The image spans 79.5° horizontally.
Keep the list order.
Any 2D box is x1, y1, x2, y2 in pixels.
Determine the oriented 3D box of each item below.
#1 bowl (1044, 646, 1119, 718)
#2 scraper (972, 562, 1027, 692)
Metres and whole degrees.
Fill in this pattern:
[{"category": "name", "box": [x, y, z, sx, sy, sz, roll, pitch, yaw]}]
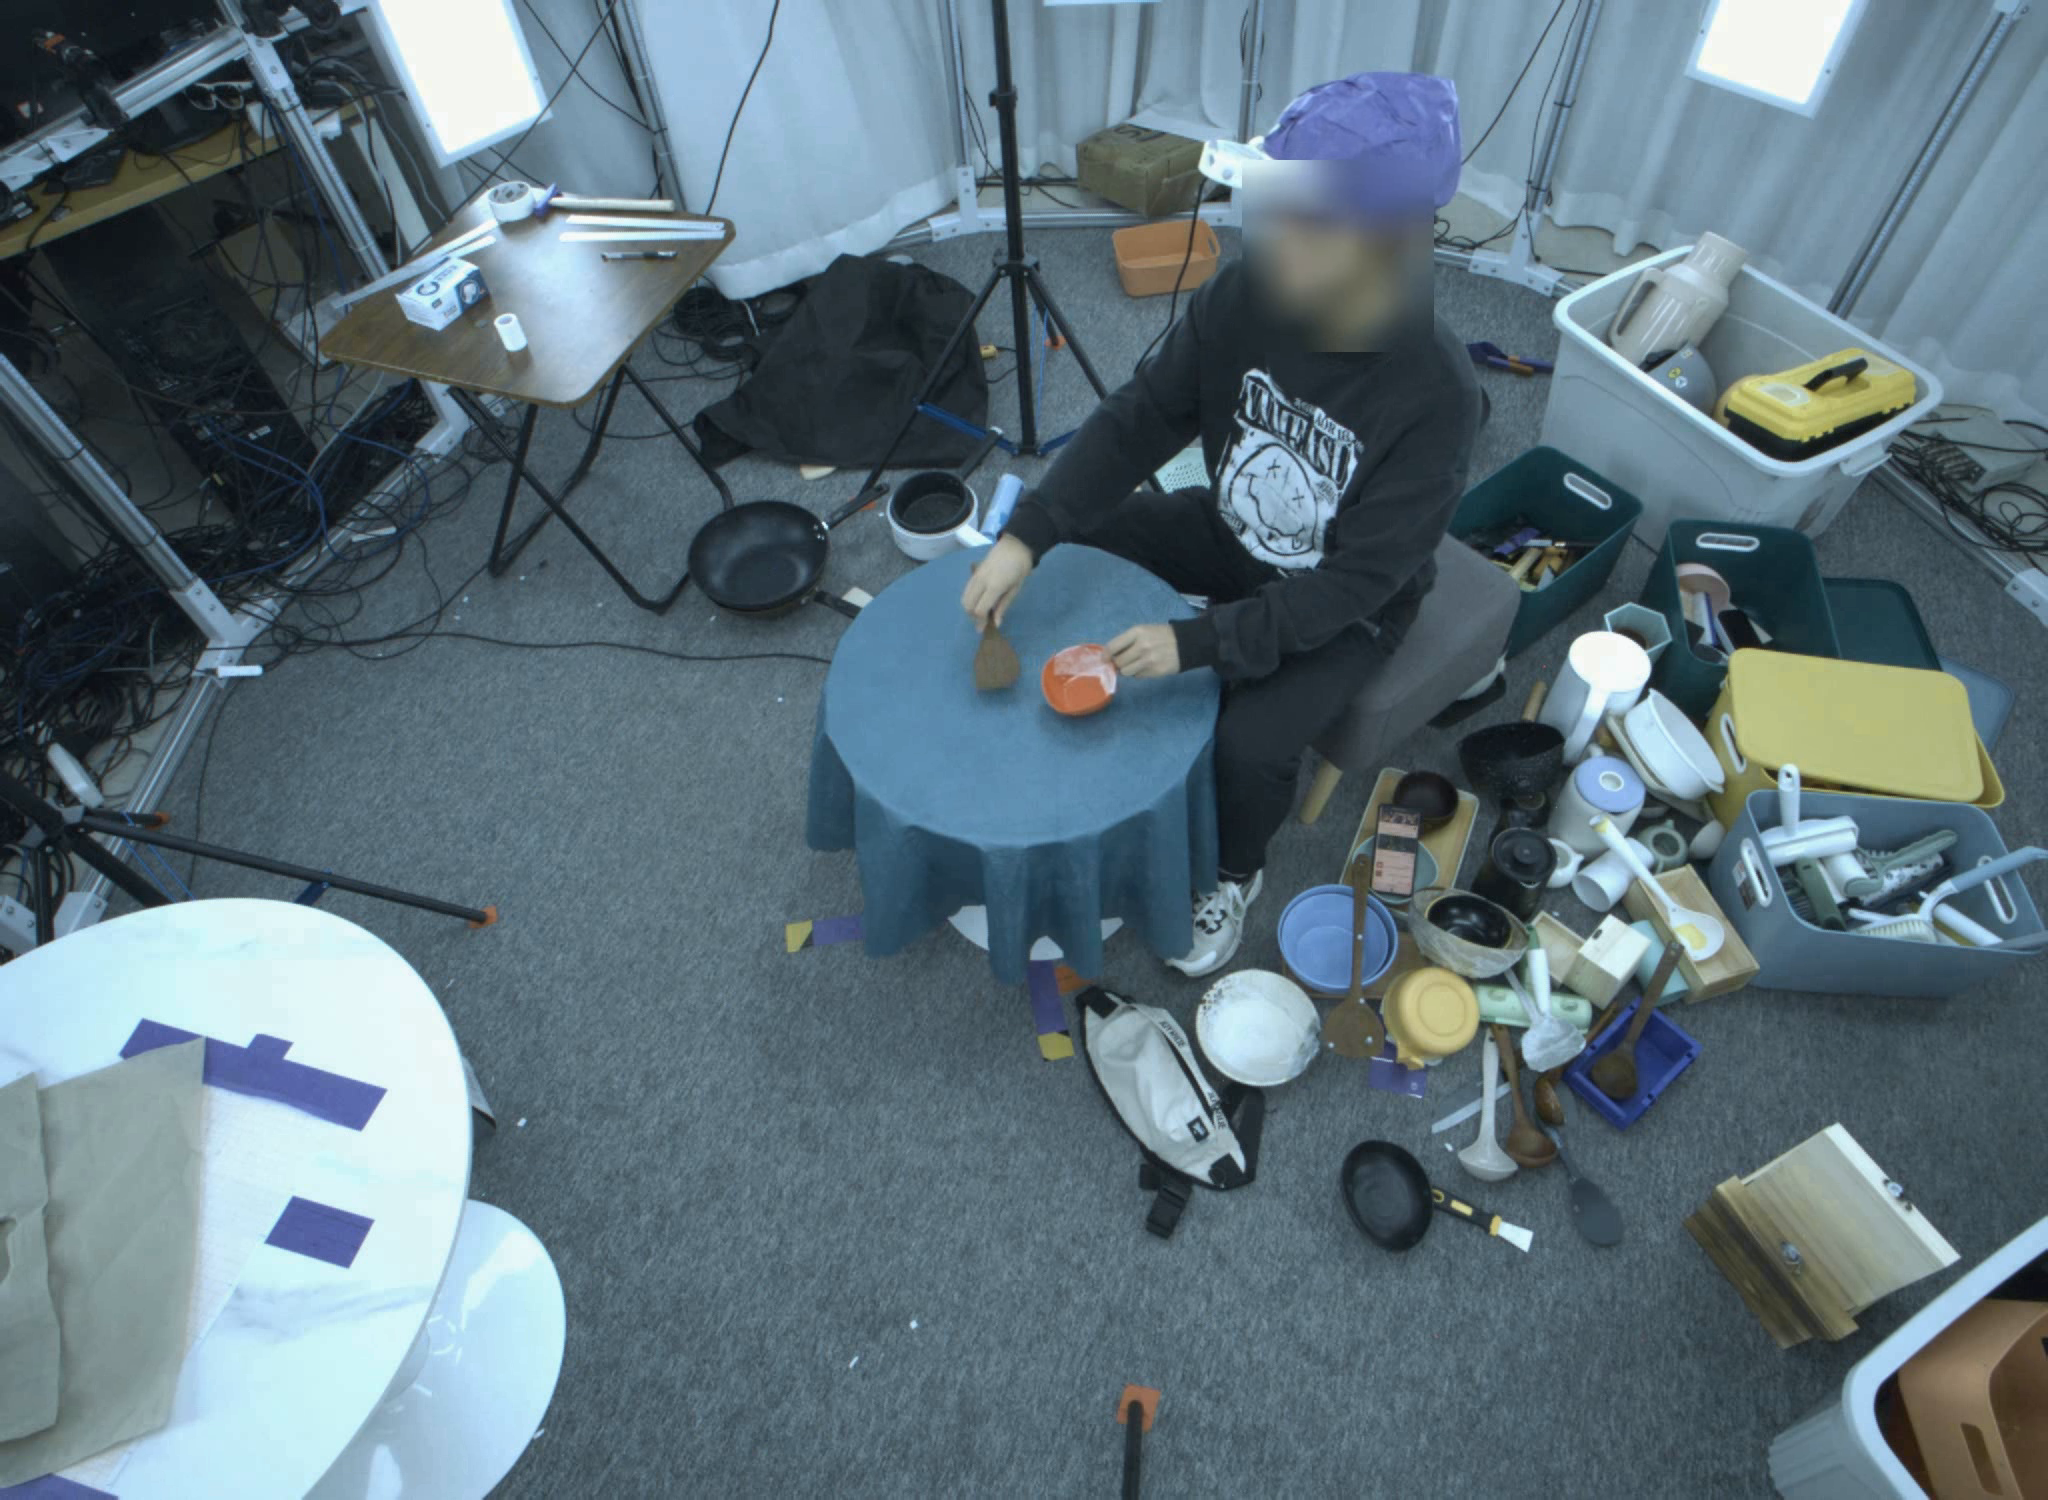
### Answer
[{"category": "bowl", "box": [0.090, -0.092, 1.814, 0.118, 0.052, 0.118, -8, 61, 15]}, {"category": "scraper", "box": [-0.050, -0.187, 1.852, 0.076, 0.011, 0.209, -10, 75, -4]}]
